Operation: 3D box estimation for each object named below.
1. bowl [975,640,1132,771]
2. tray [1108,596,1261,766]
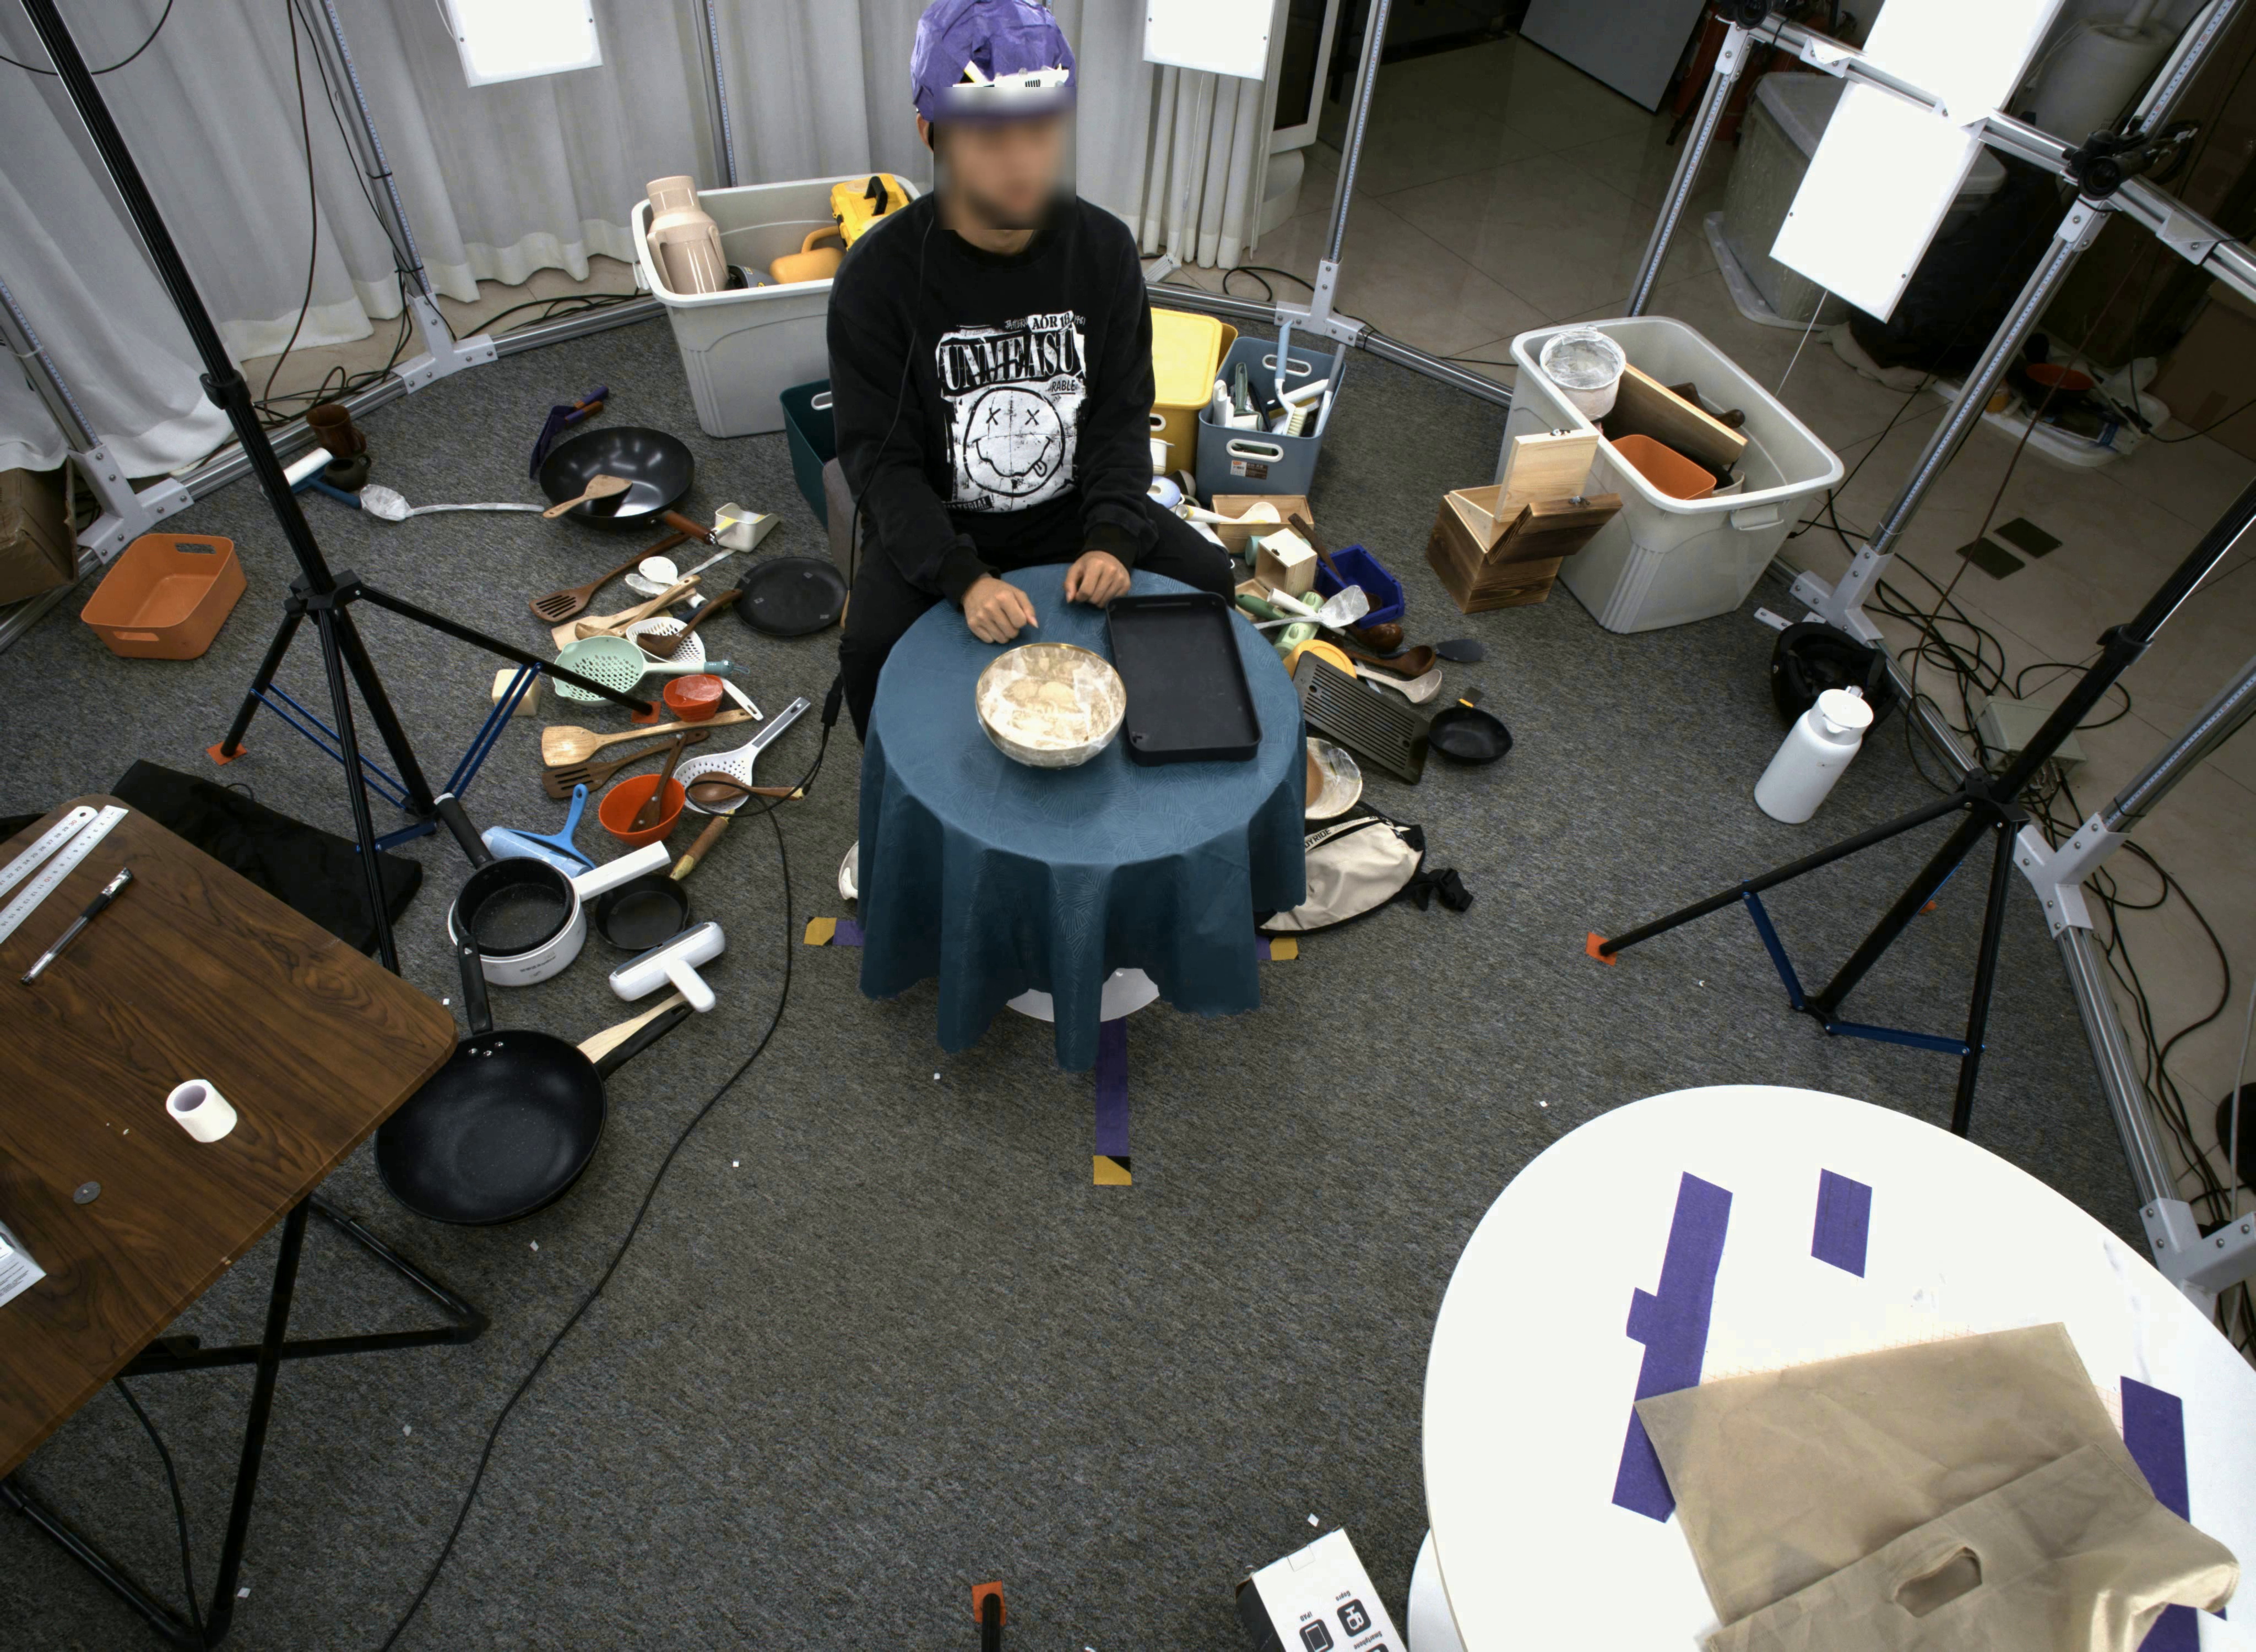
[{"bbox_3d":[-0.102,-0.149,1.747,0.214,0.092,0.220,1,50,-1],"label":"bowl"},{"bbox_3d":[0.076,-0.215,1.851,0.184,0.036,0.326,-4,48,-5],"label":"tray"}]
